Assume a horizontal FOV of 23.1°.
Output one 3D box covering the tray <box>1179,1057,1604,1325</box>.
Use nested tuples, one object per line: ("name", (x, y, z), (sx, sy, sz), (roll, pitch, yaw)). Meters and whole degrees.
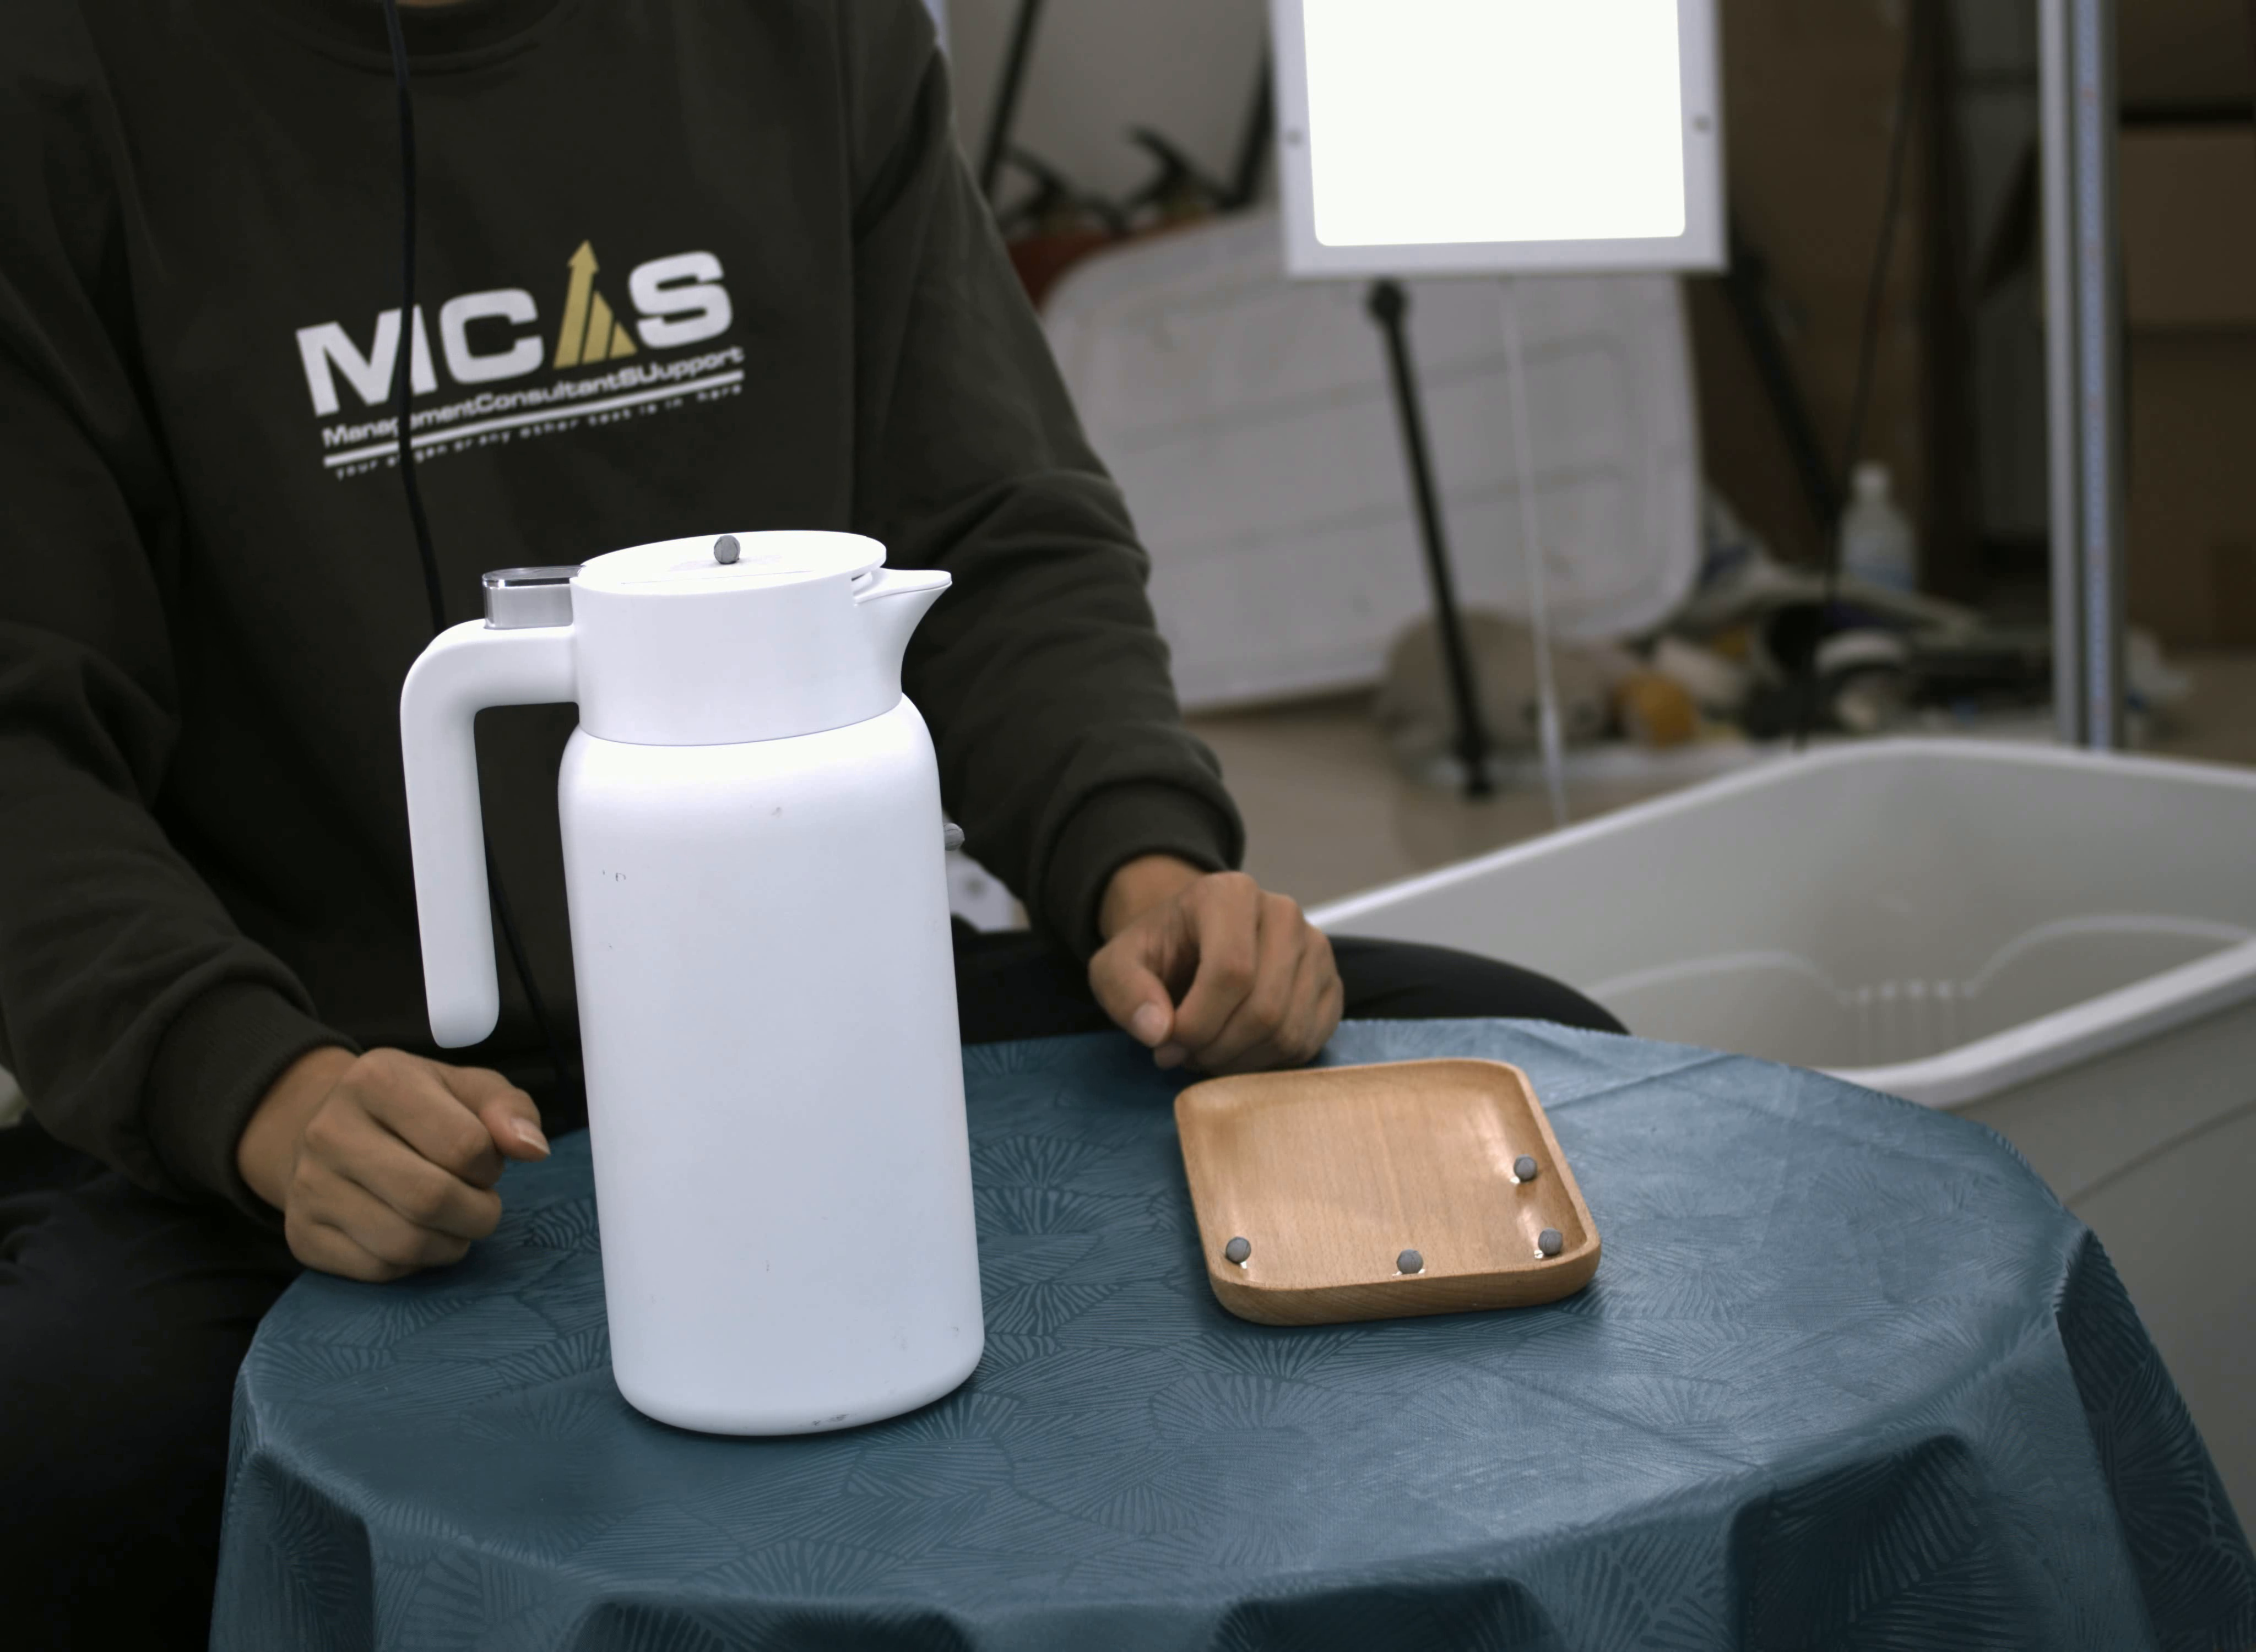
("tray", (0.086, 0.121, 1.859), (0.130, 0.023, 0.250), (-3, 12, 0))

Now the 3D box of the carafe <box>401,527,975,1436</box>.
("carafe", (-0.131, 0.047, 1.704), (0.173, 0.270, 0.123), (-3, 15, 6))
